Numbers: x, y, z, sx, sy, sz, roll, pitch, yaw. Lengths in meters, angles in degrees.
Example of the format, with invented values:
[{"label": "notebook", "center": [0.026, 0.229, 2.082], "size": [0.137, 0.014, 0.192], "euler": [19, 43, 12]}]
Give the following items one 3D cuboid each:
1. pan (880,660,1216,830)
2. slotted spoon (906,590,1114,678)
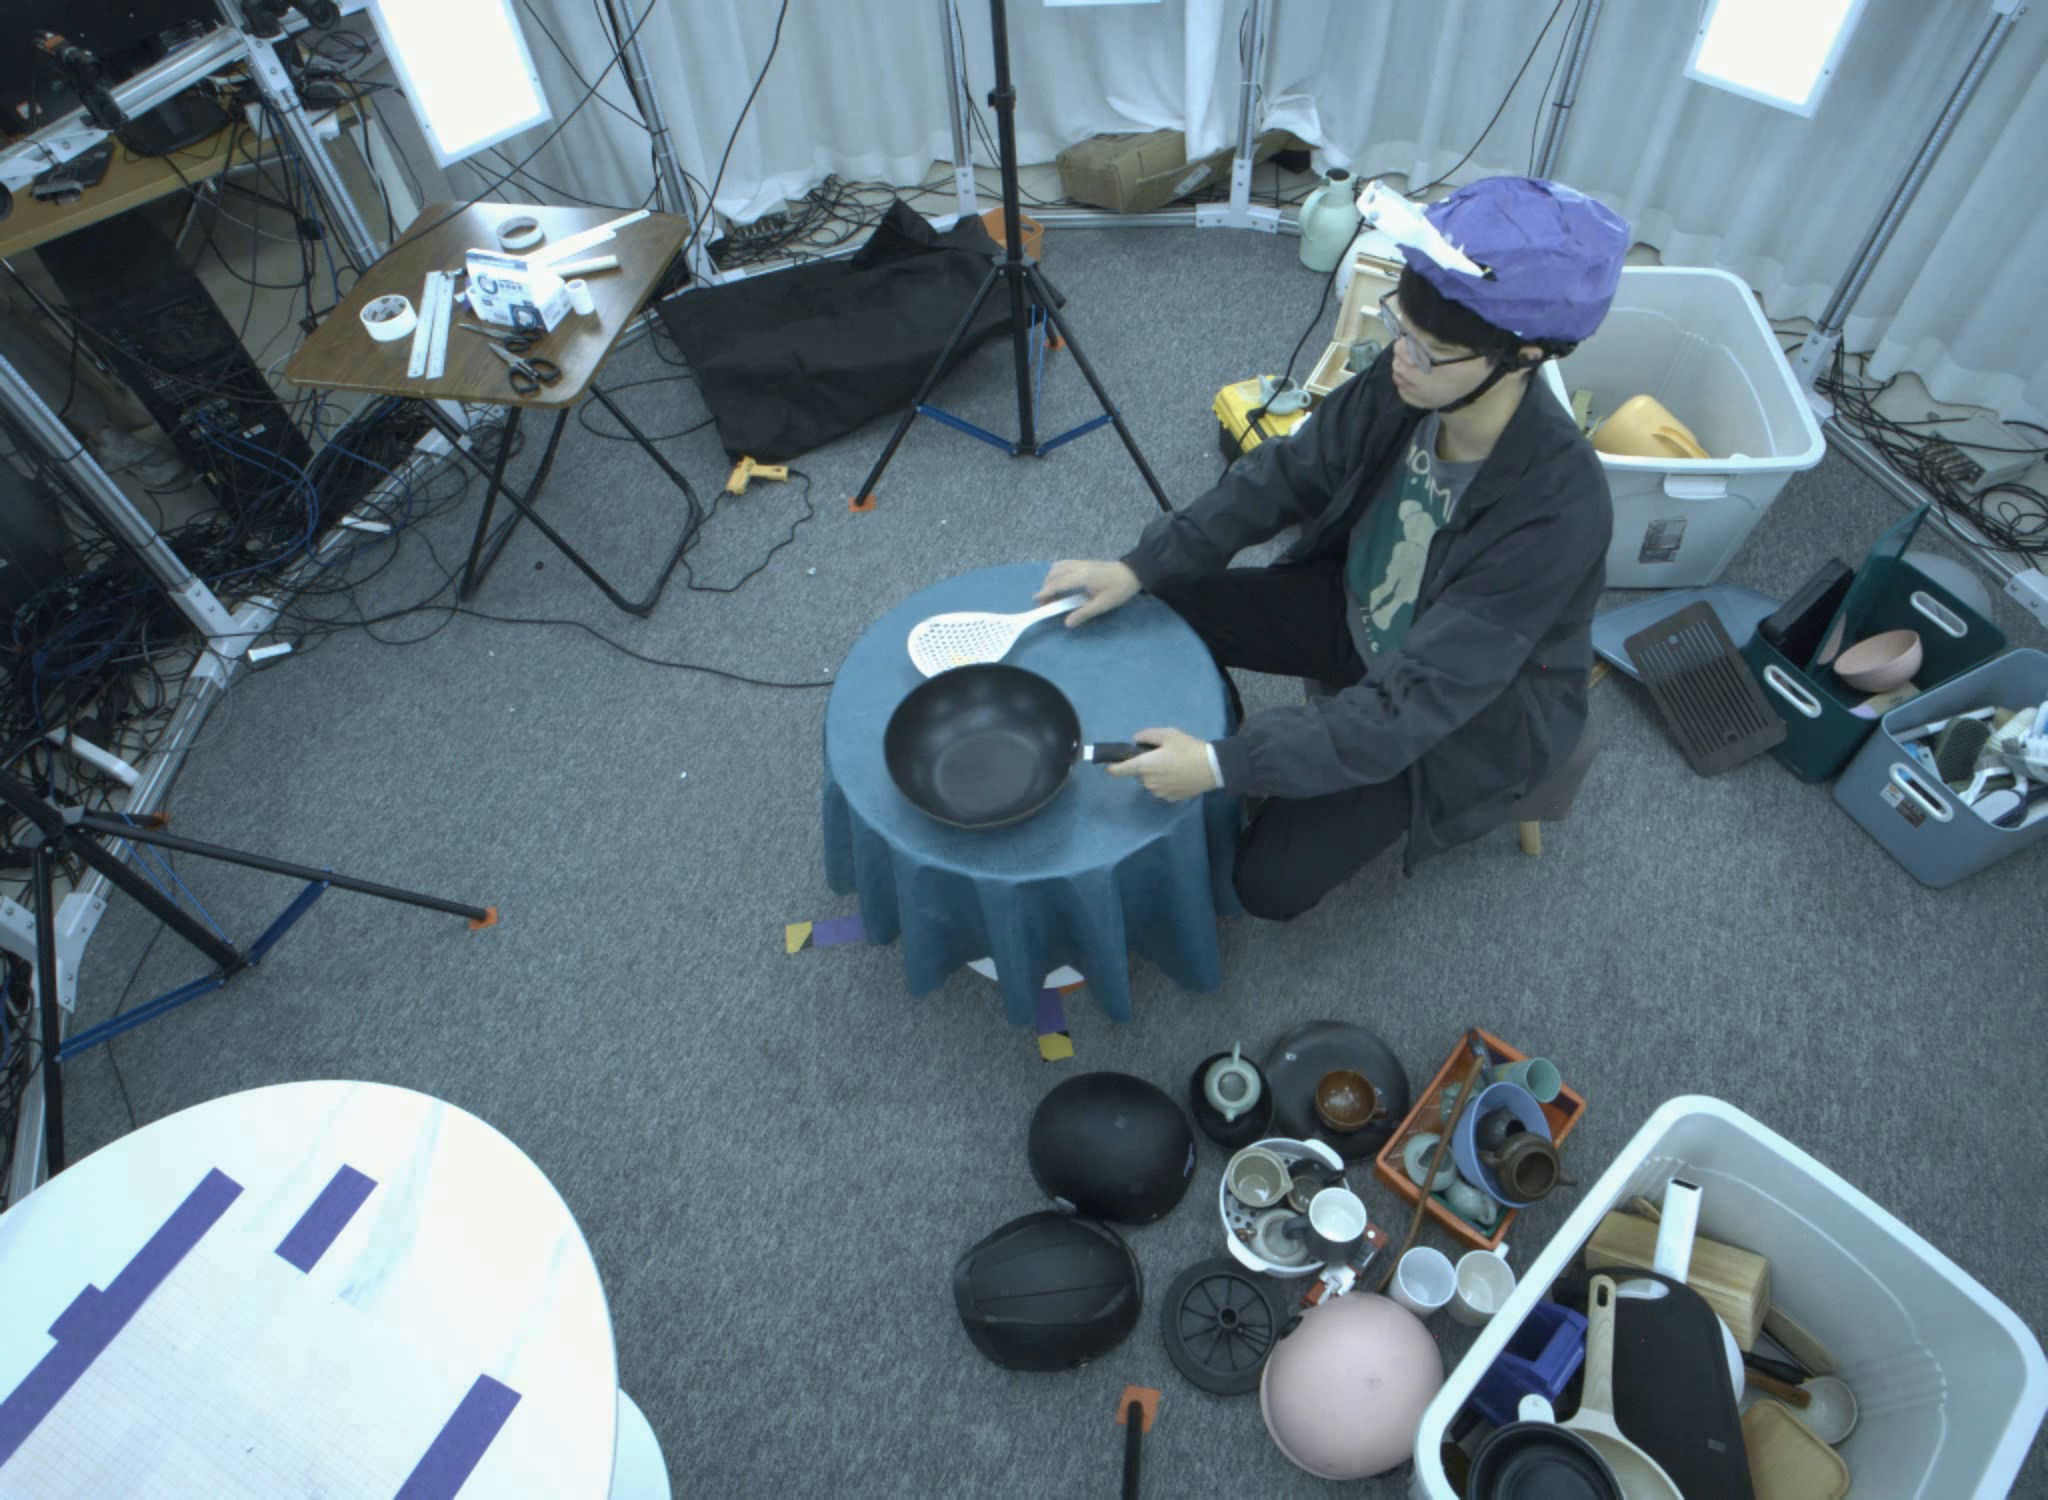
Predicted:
[{"label": "pan", "center": [0.033, 0.013, 1.717], "size": [0.462, 0.088, 0.286], "euler": [5, 55, 5]}, {"label": "slotted spoon", "center": [-0.012, -0.190, 1.890], "size": [0.350, 0.051, 0.134], "euler": [-24, 58, -14]}]
